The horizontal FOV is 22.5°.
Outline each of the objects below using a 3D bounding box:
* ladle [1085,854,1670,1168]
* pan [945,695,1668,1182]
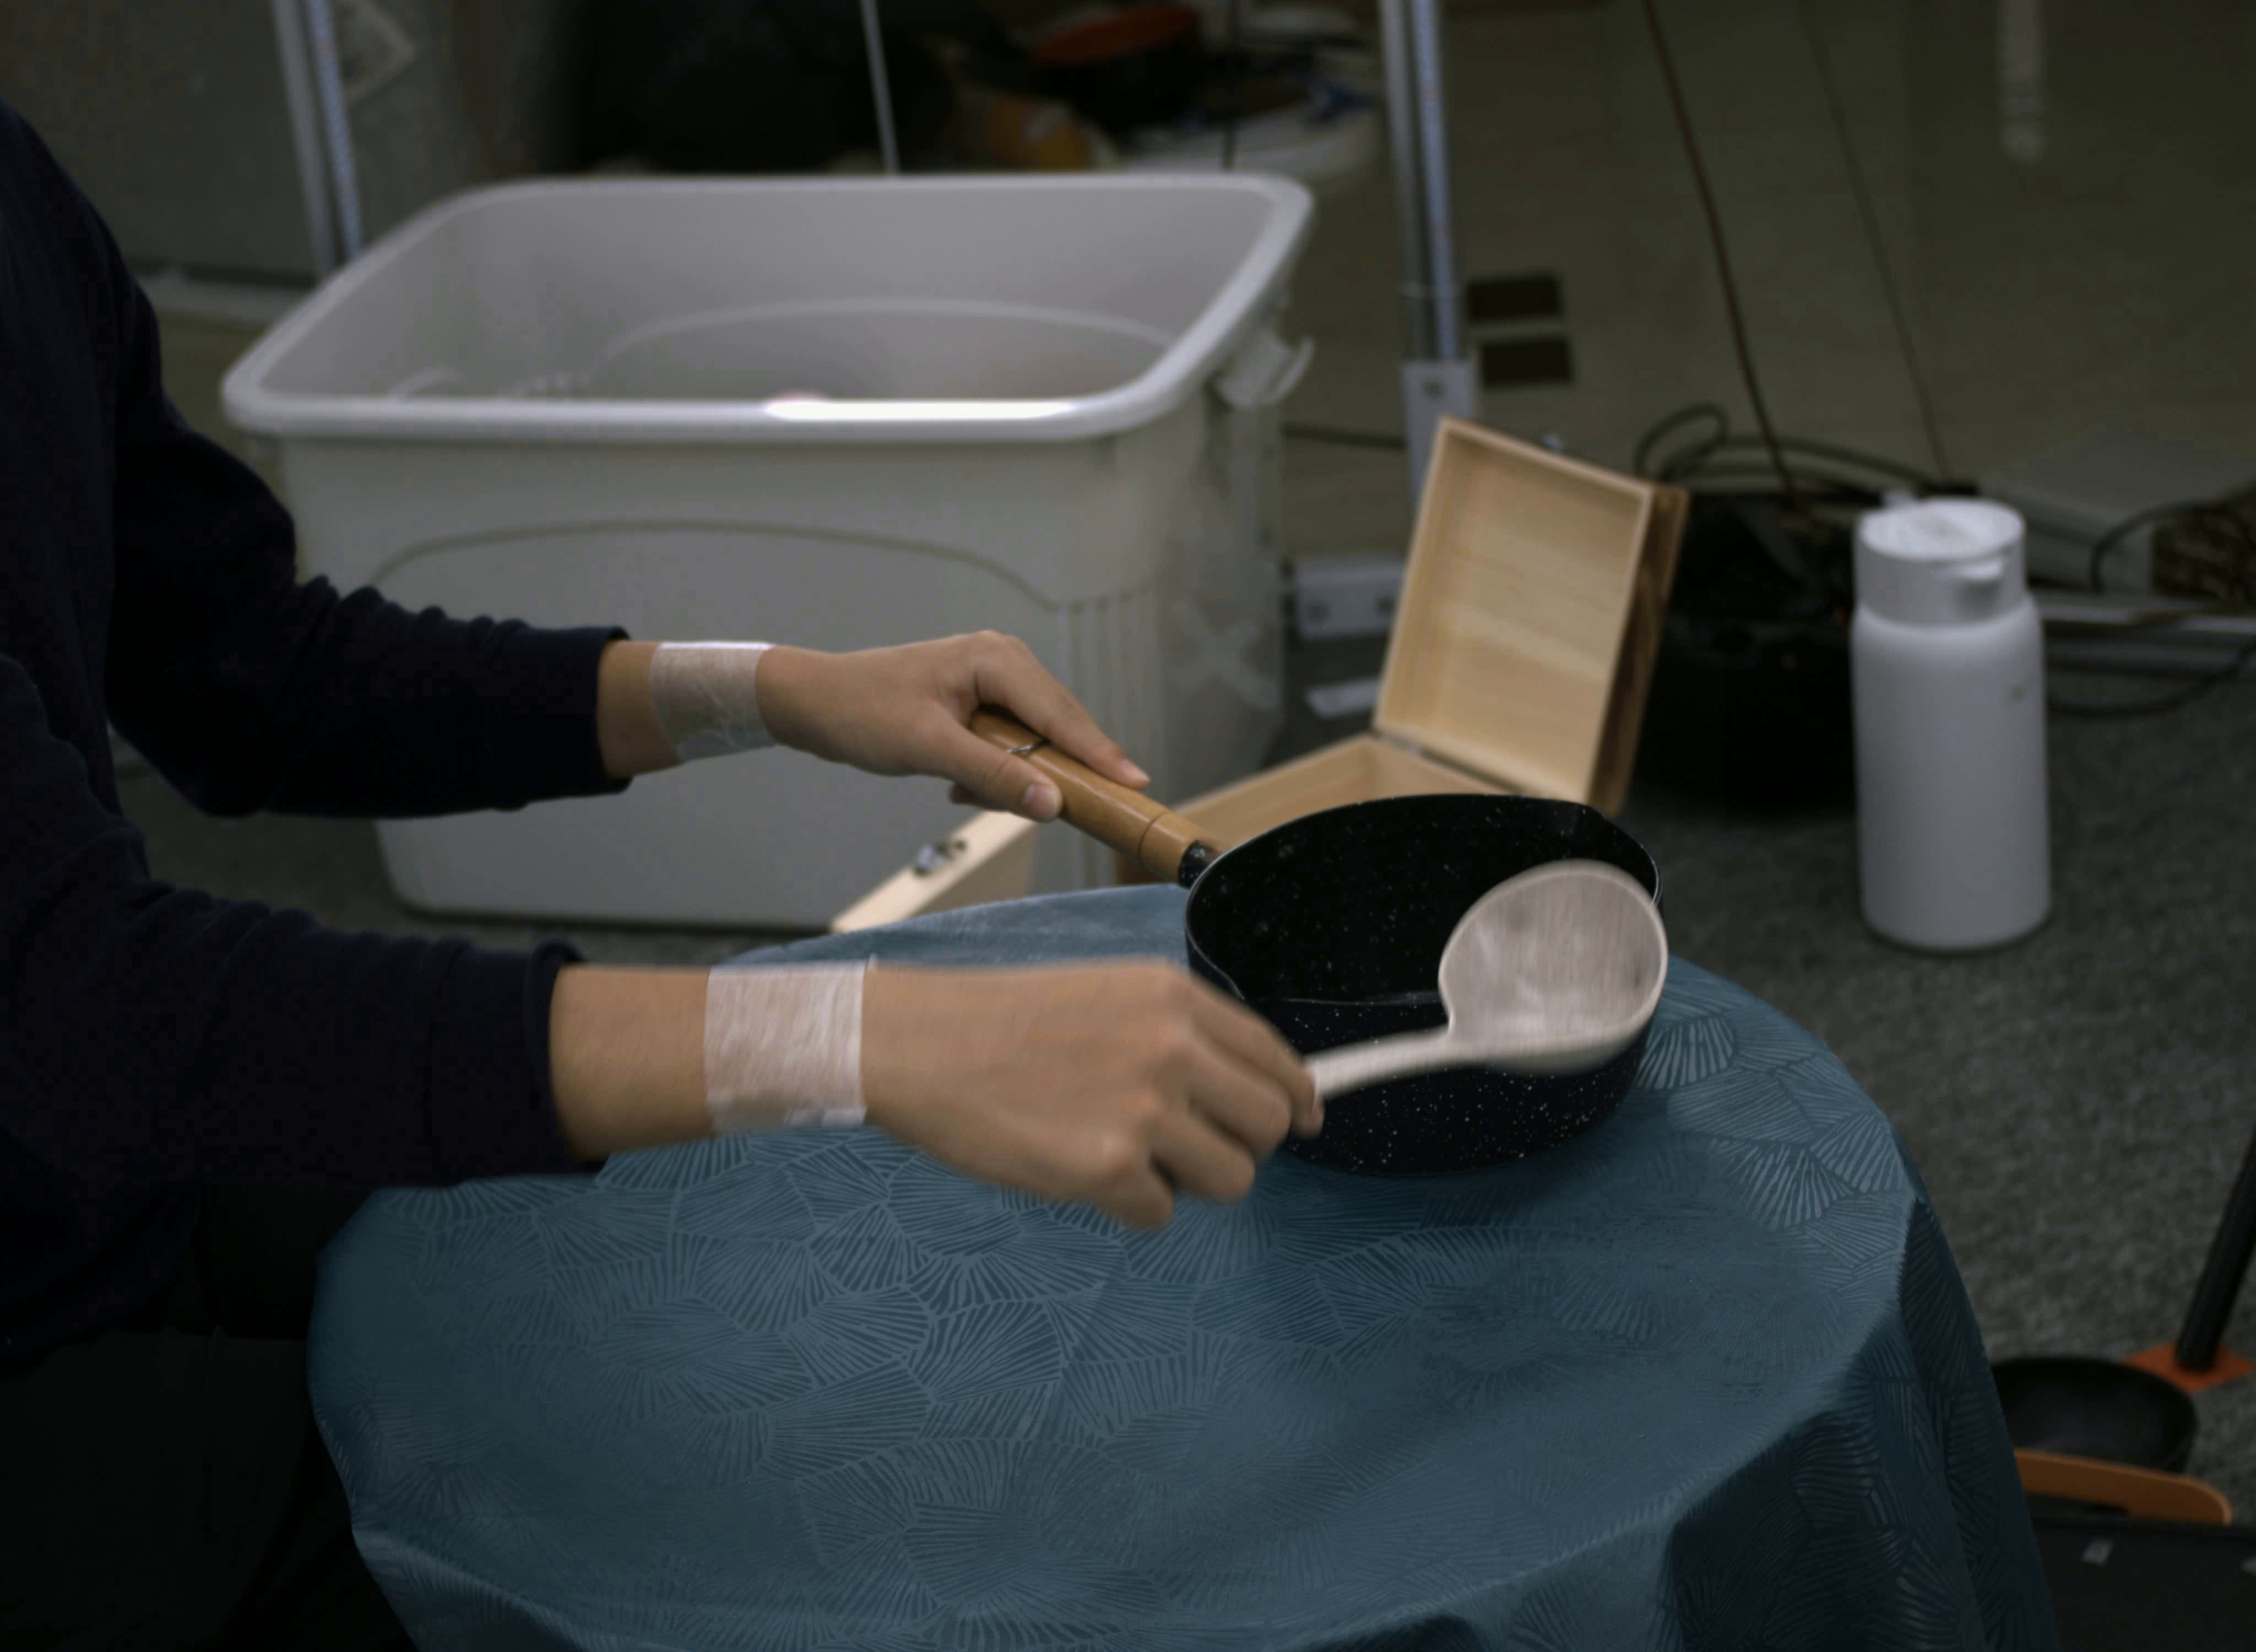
[{"bbox_3d":[0.082,0.060,1.923,0.088,0.070,0.274,24,22,35],"label":"ladle"},{"bbox_3d":[0.057,0.036,2.223,0.340,0.110,0.205,18,35,39],"label":"pan"}]
